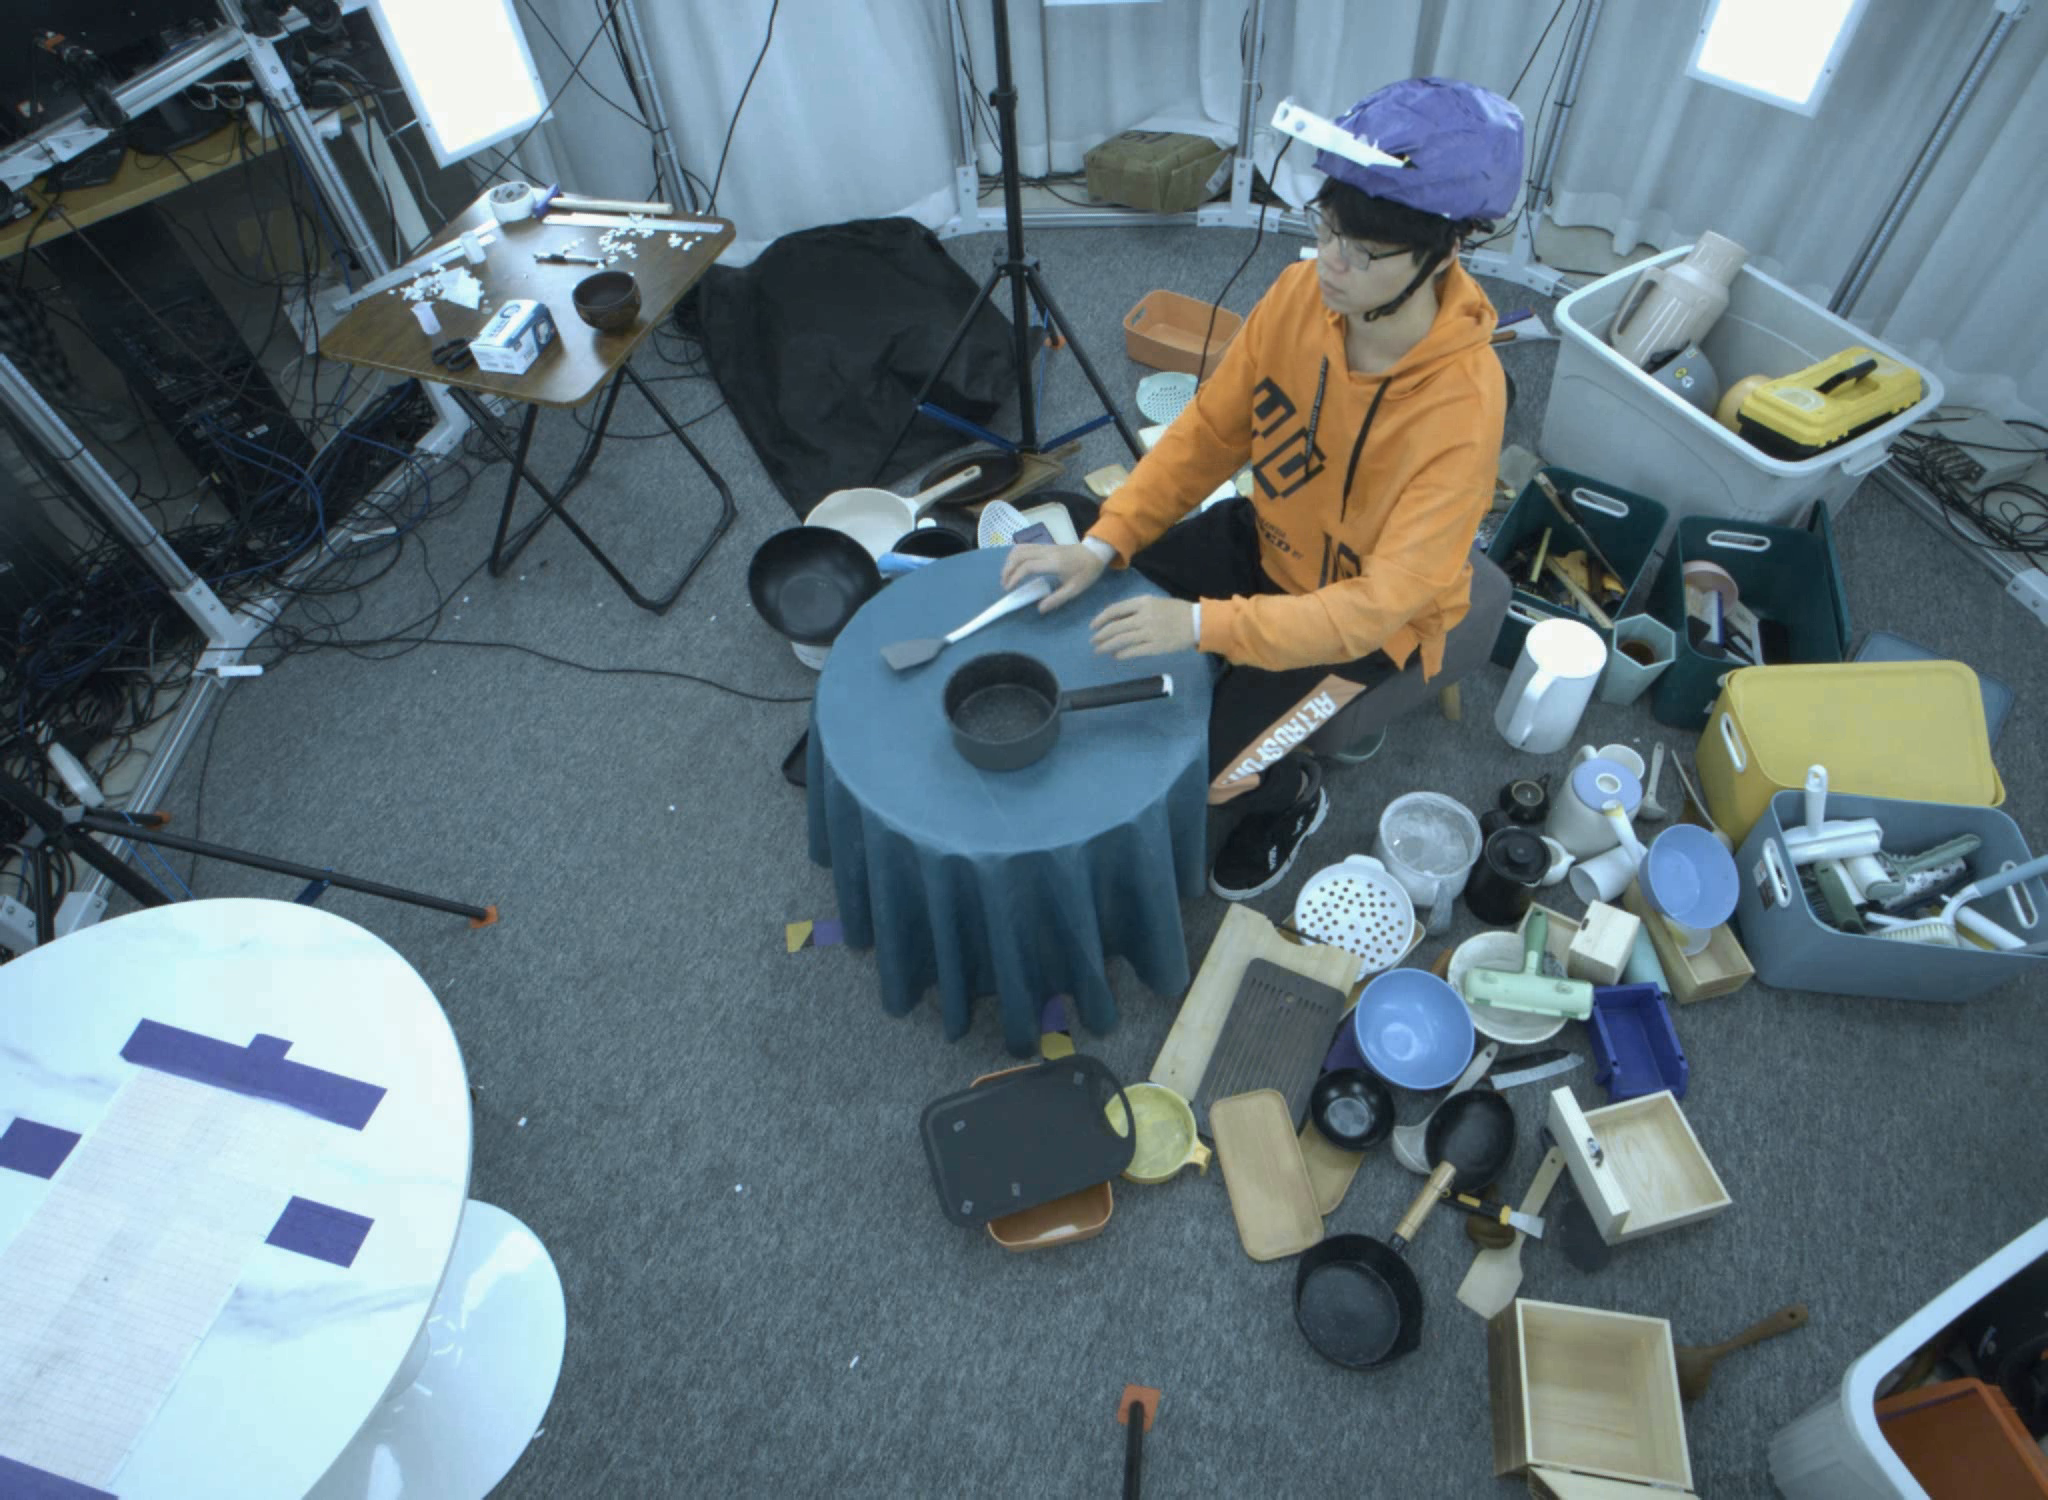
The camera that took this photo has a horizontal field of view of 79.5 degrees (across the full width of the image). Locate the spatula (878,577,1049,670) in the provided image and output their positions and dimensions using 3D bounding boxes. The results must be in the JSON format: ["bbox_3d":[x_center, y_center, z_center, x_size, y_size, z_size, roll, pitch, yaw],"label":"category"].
[{"bbox_3d":[-0.090,-0.195,1.909,0.290,0.032,0.057,-28,63,-17],"label":"spatula"}]

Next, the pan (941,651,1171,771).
[{"bbox_3d":[0.048,-0.060,1.775,0.328,0.087,0.170,-2,56,3],"label":"pan"}]
